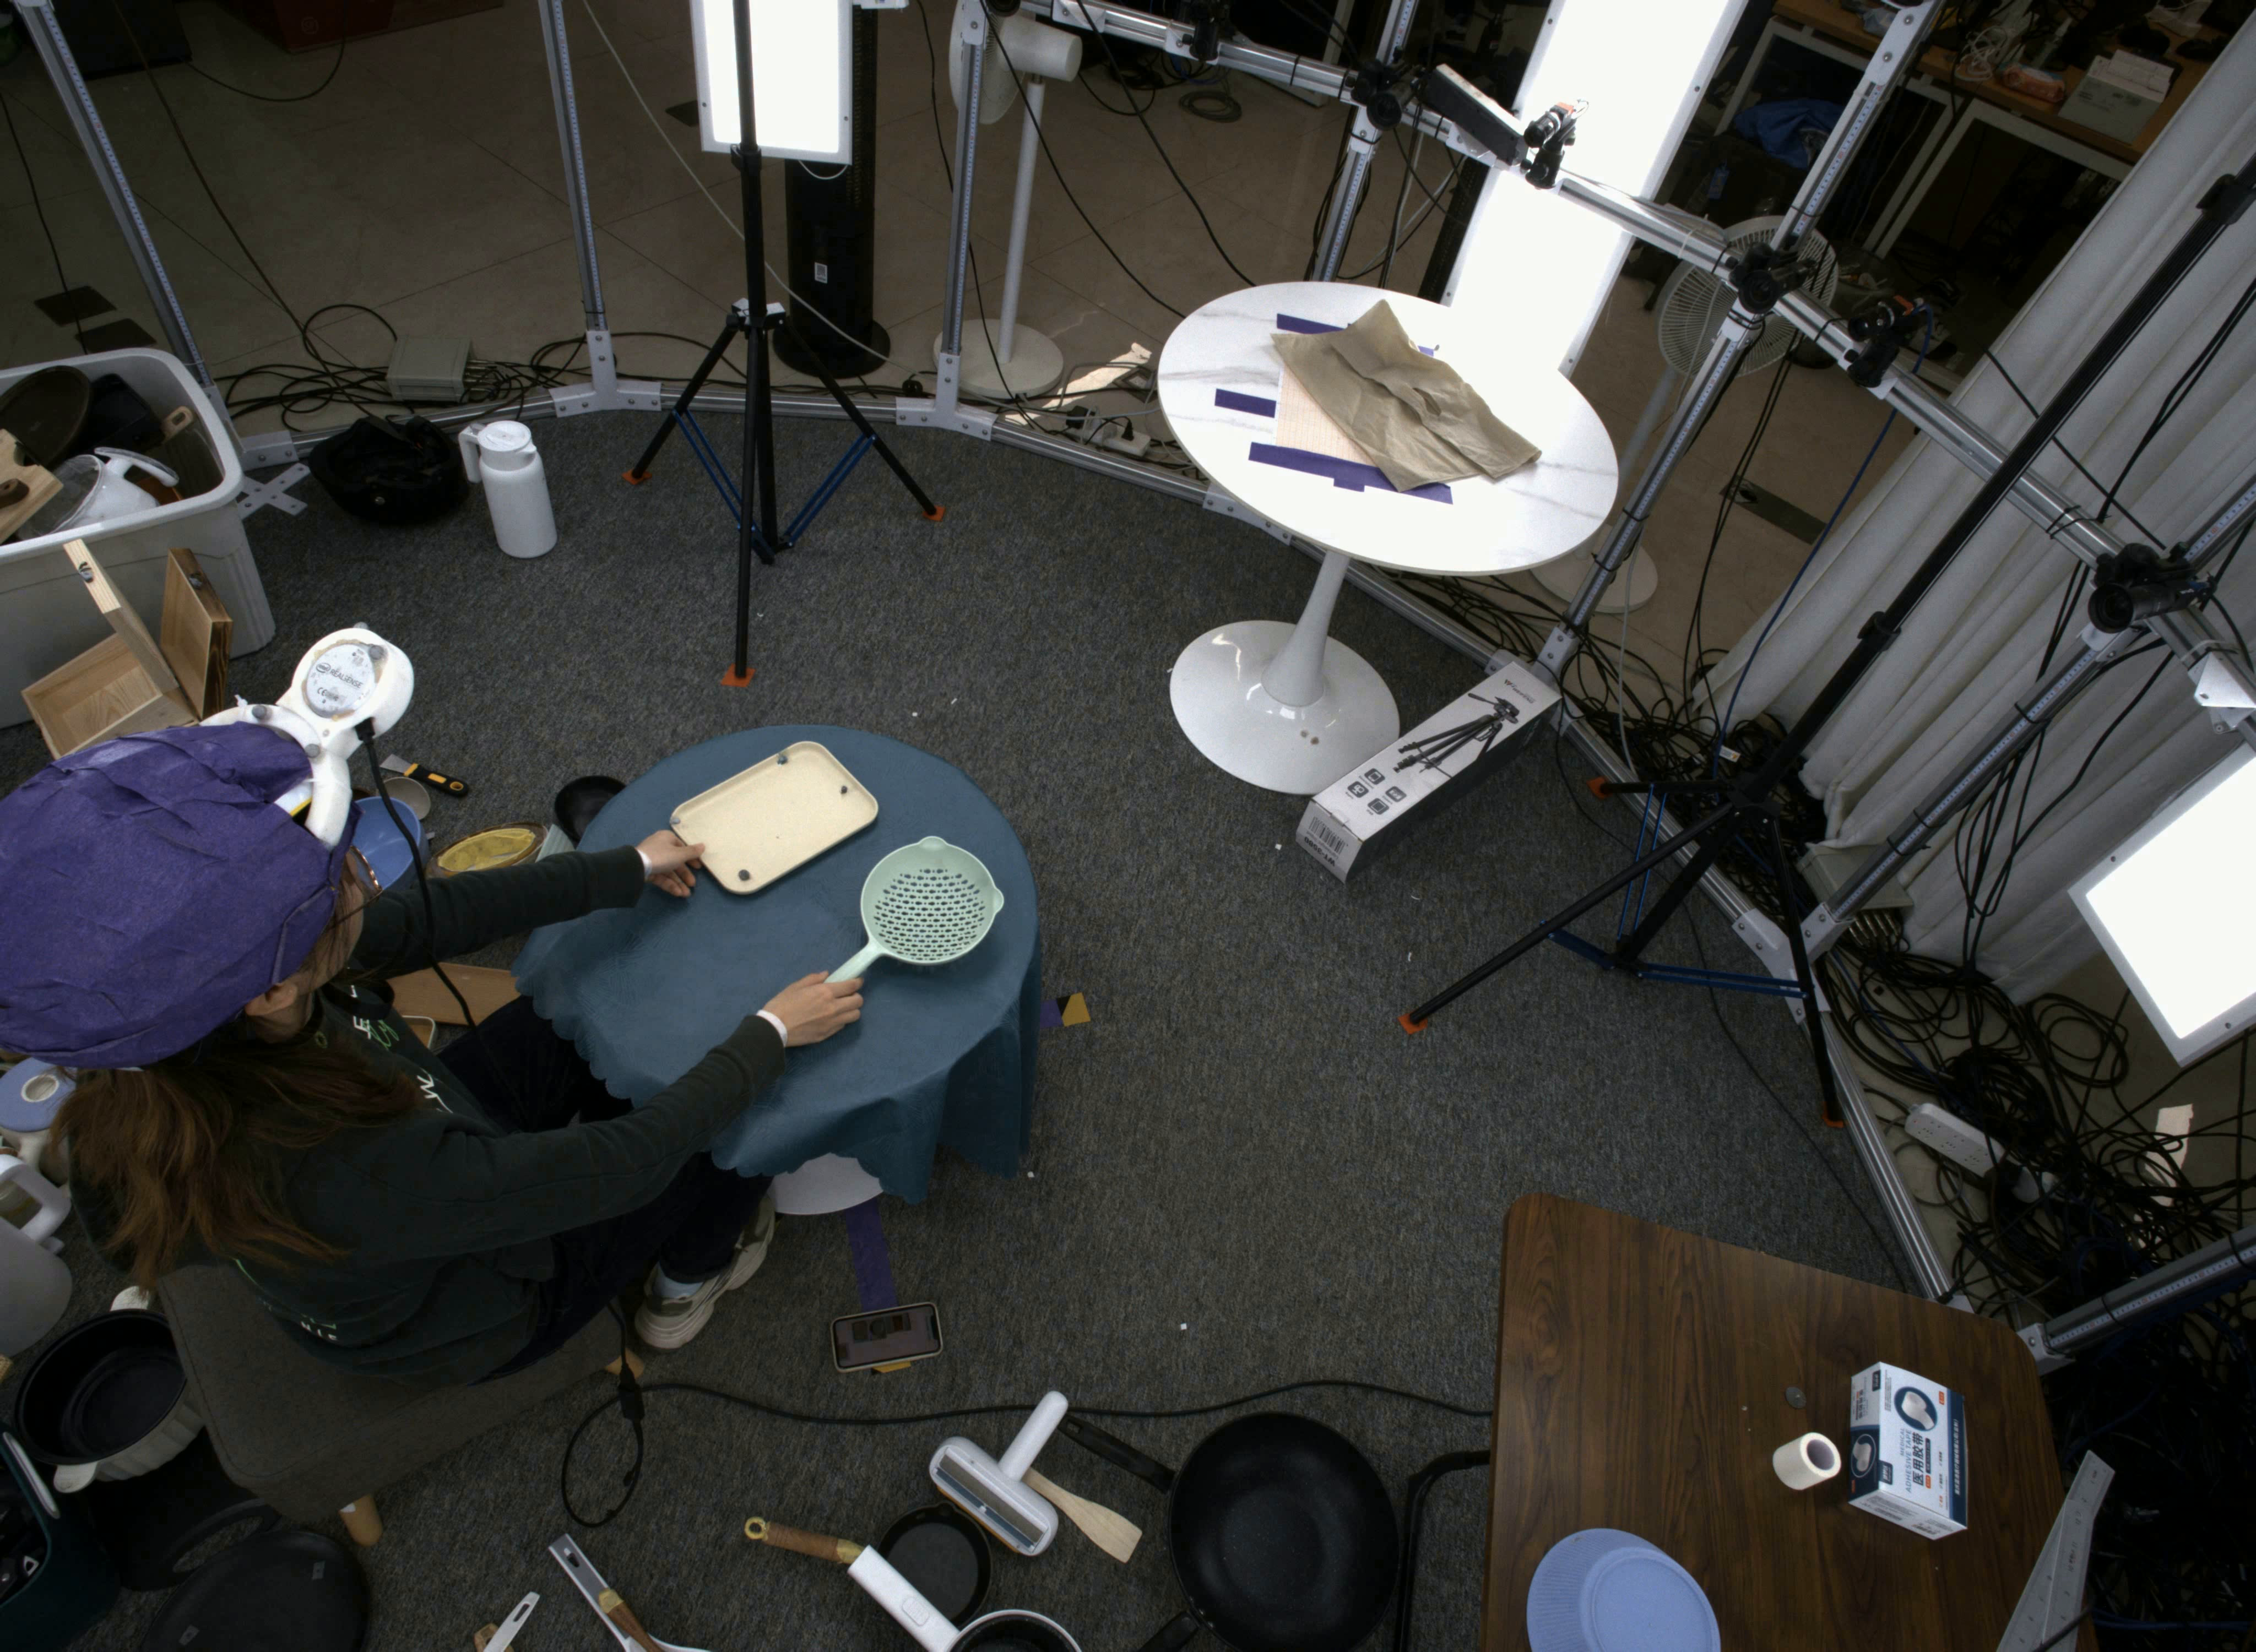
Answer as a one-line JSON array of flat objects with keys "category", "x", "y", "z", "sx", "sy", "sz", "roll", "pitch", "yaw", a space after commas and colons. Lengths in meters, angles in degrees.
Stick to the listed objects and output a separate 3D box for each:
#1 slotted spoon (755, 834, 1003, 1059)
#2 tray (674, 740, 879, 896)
[{"category": "slotted spoon", "x": -0.315, "y": 0.155, "z": 1.600, "sx": 0.166, "sy": 0.077, "sz": 0.359, "roll": 41, "pitch": 55, "yaw": 15}, {"category": "tray", "x": -0.464, "y": -0.014, "z": 1.718, "sx": 0.167, "sy": 0.018, "sz": 0.240, "roll": 43, "pitch": 56, "yaw": 18}]
